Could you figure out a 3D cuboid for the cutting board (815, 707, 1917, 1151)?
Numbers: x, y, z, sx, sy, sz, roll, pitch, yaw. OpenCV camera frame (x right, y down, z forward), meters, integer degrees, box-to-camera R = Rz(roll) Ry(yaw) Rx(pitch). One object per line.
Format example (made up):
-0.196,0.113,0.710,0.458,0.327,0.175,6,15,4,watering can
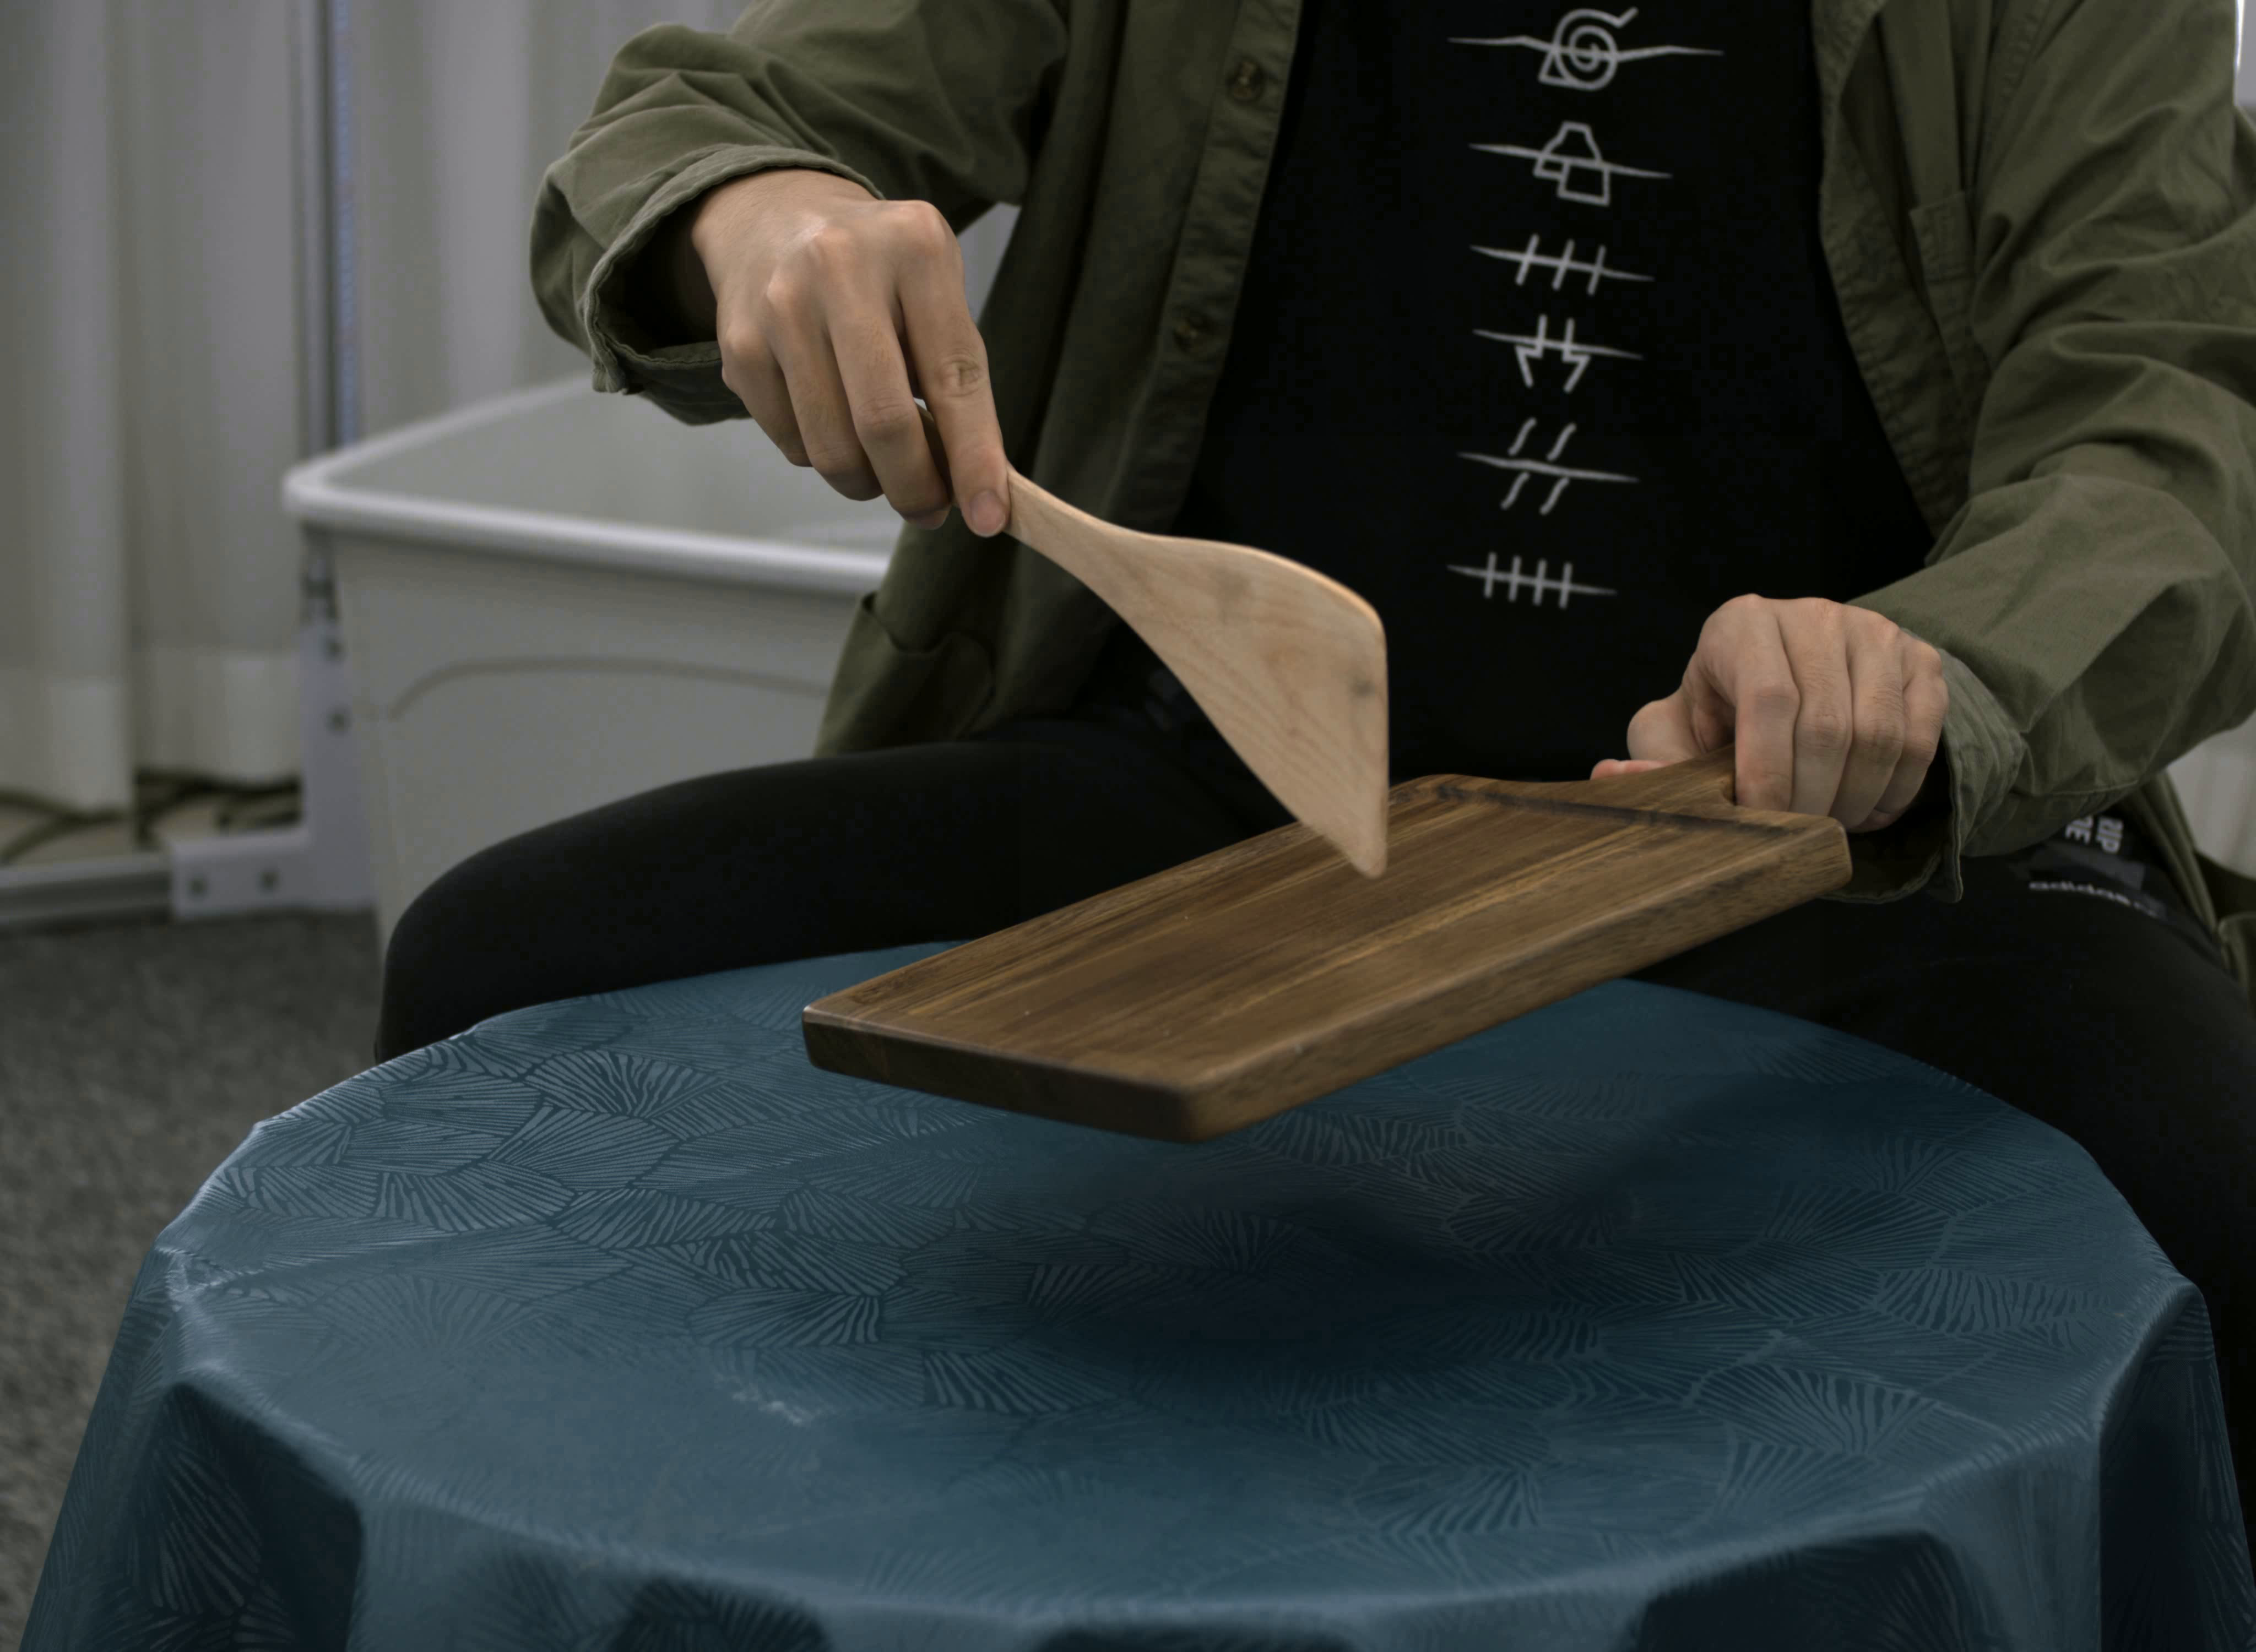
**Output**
0.101,0.022,1.551,0.353,0.023,0.199,-19,15,-32,cutting board

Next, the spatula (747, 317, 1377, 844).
-0.024,-0.091,1.575,0.016,0.081,0.323,-18,34,-35,spatula
